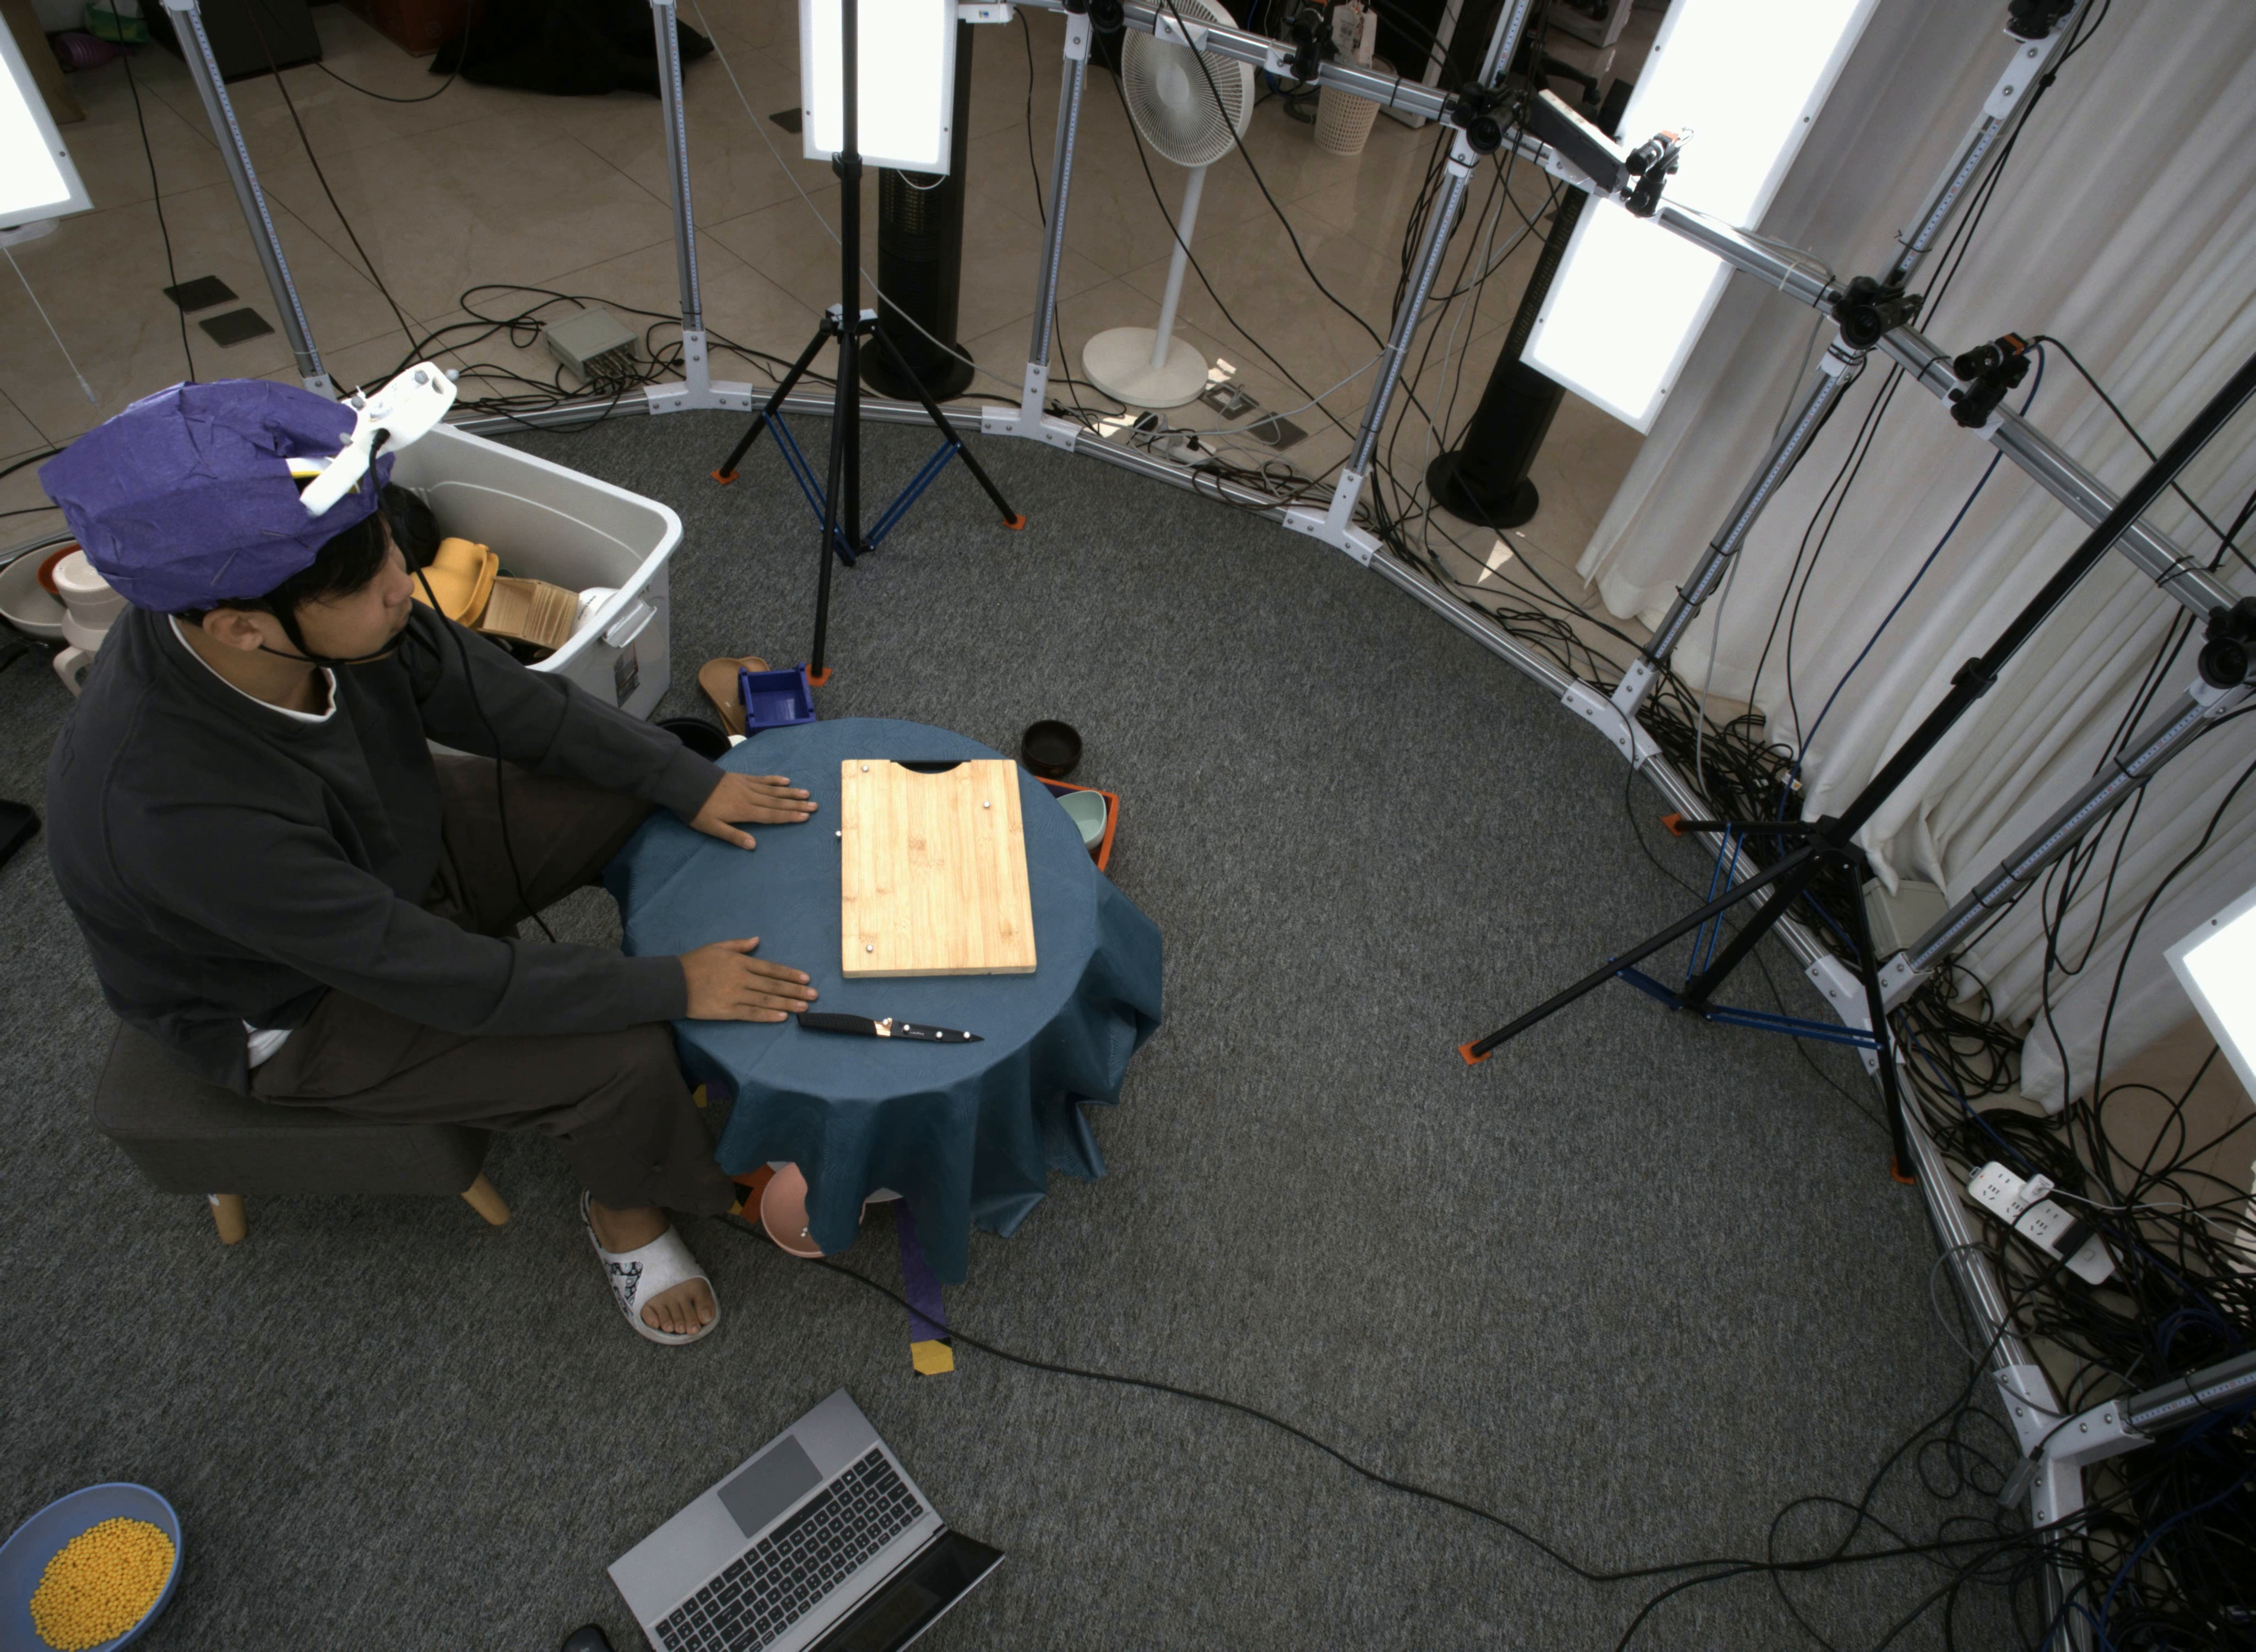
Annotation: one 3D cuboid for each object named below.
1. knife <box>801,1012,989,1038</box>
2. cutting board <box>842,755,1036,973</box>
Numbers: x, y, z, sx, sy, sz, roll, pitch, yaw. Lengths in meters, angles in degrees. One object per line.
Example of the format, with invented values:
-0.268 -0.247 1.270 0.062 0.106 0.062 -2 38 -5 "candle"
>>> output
-0.280 0.241 1.569 0.225 0.017 0.025 7 47 -10 "knife"
-0.254 0.043 1.720 0.251 0.024 0.341 0 54 -15 "cutting board"
